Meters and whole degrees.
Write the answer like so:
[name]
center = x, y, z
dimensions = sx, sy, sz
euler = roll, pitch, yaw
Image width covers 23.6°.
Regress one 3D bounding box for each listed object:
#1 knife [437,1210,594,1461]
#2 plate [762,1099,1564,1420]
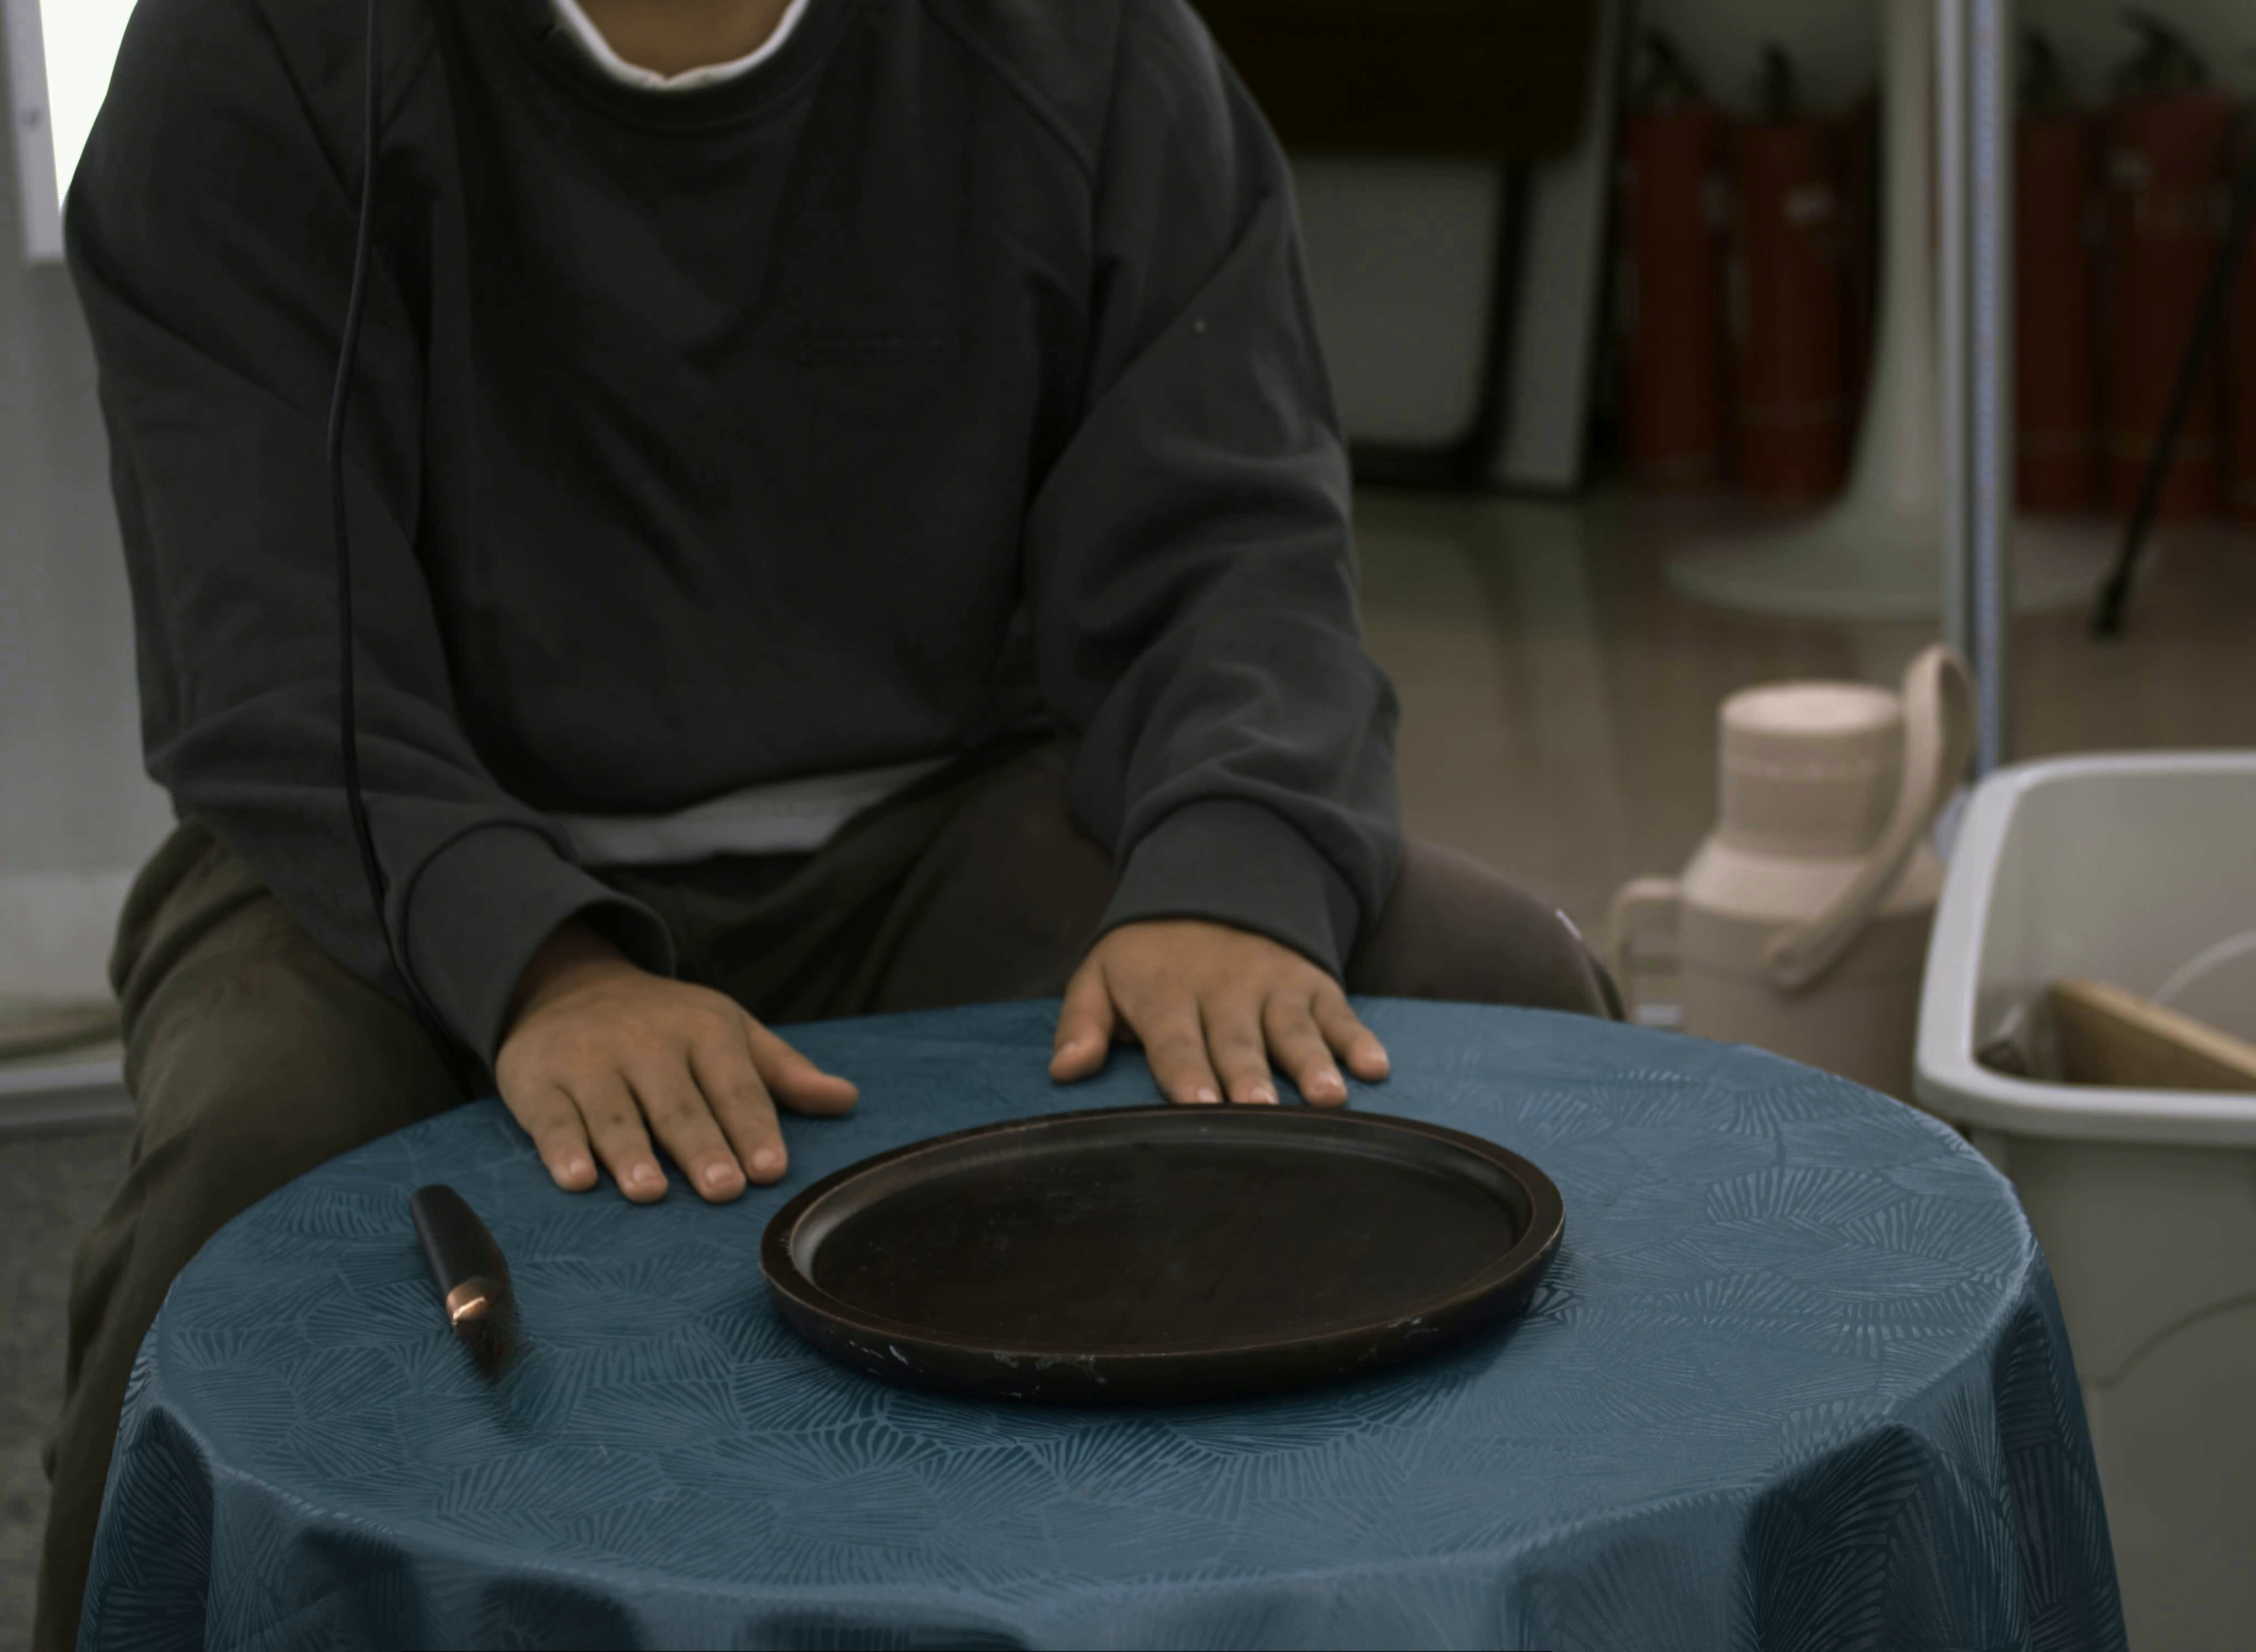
[knife]
center = -0.190, 0.156, 1.665
dimensions = 0.026, 0.017, 0.227
euler = -2, 14, -14
[plate]
center = 0.012, 0.133, 1.678
dimensions = 0.251, 0.029, 0.255
euler = -6, 13, 0
